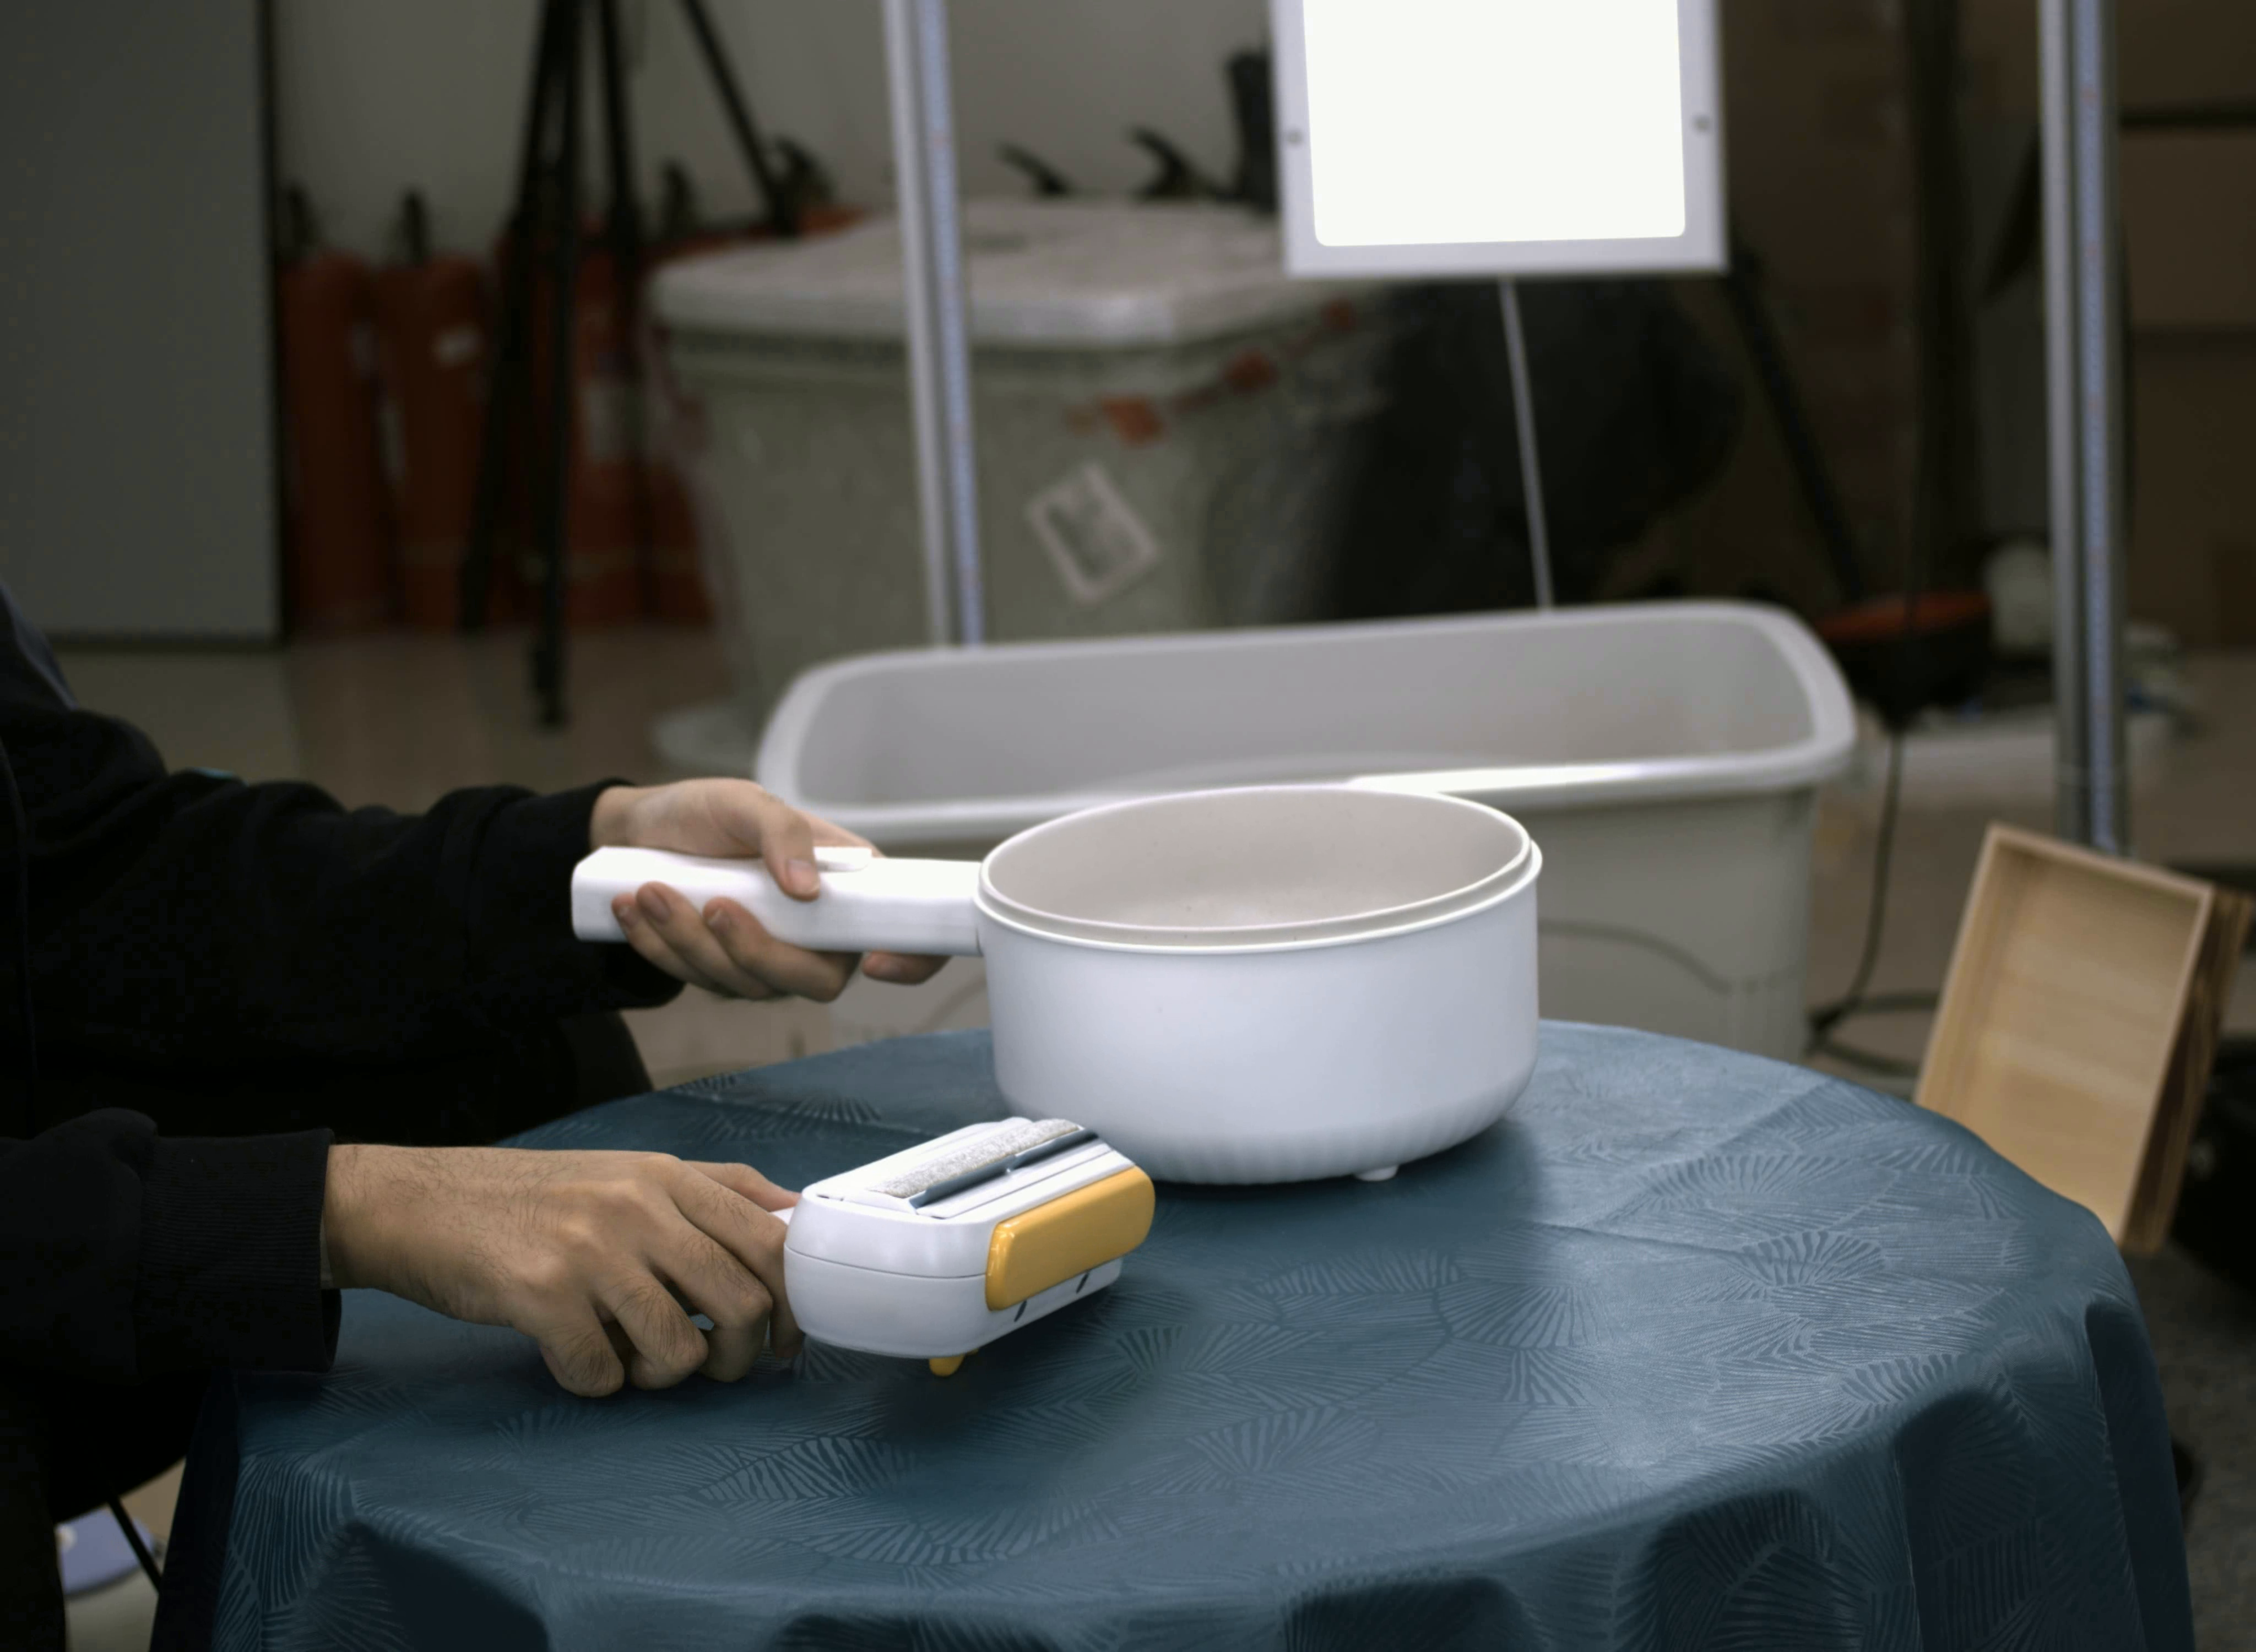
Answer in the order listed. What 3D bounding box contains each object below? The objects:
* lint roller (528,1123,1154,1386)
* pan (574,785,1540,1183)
[{"bbox_3d":[-0.105,0.136,1.752,0.195,0.074,0.189,-1,9,24],"label":"lint roller"},{"bbox_3d":[-0.026,0.058,1.965,0.359,0.102,0.198,0,15,19],"label":"pan"}]
